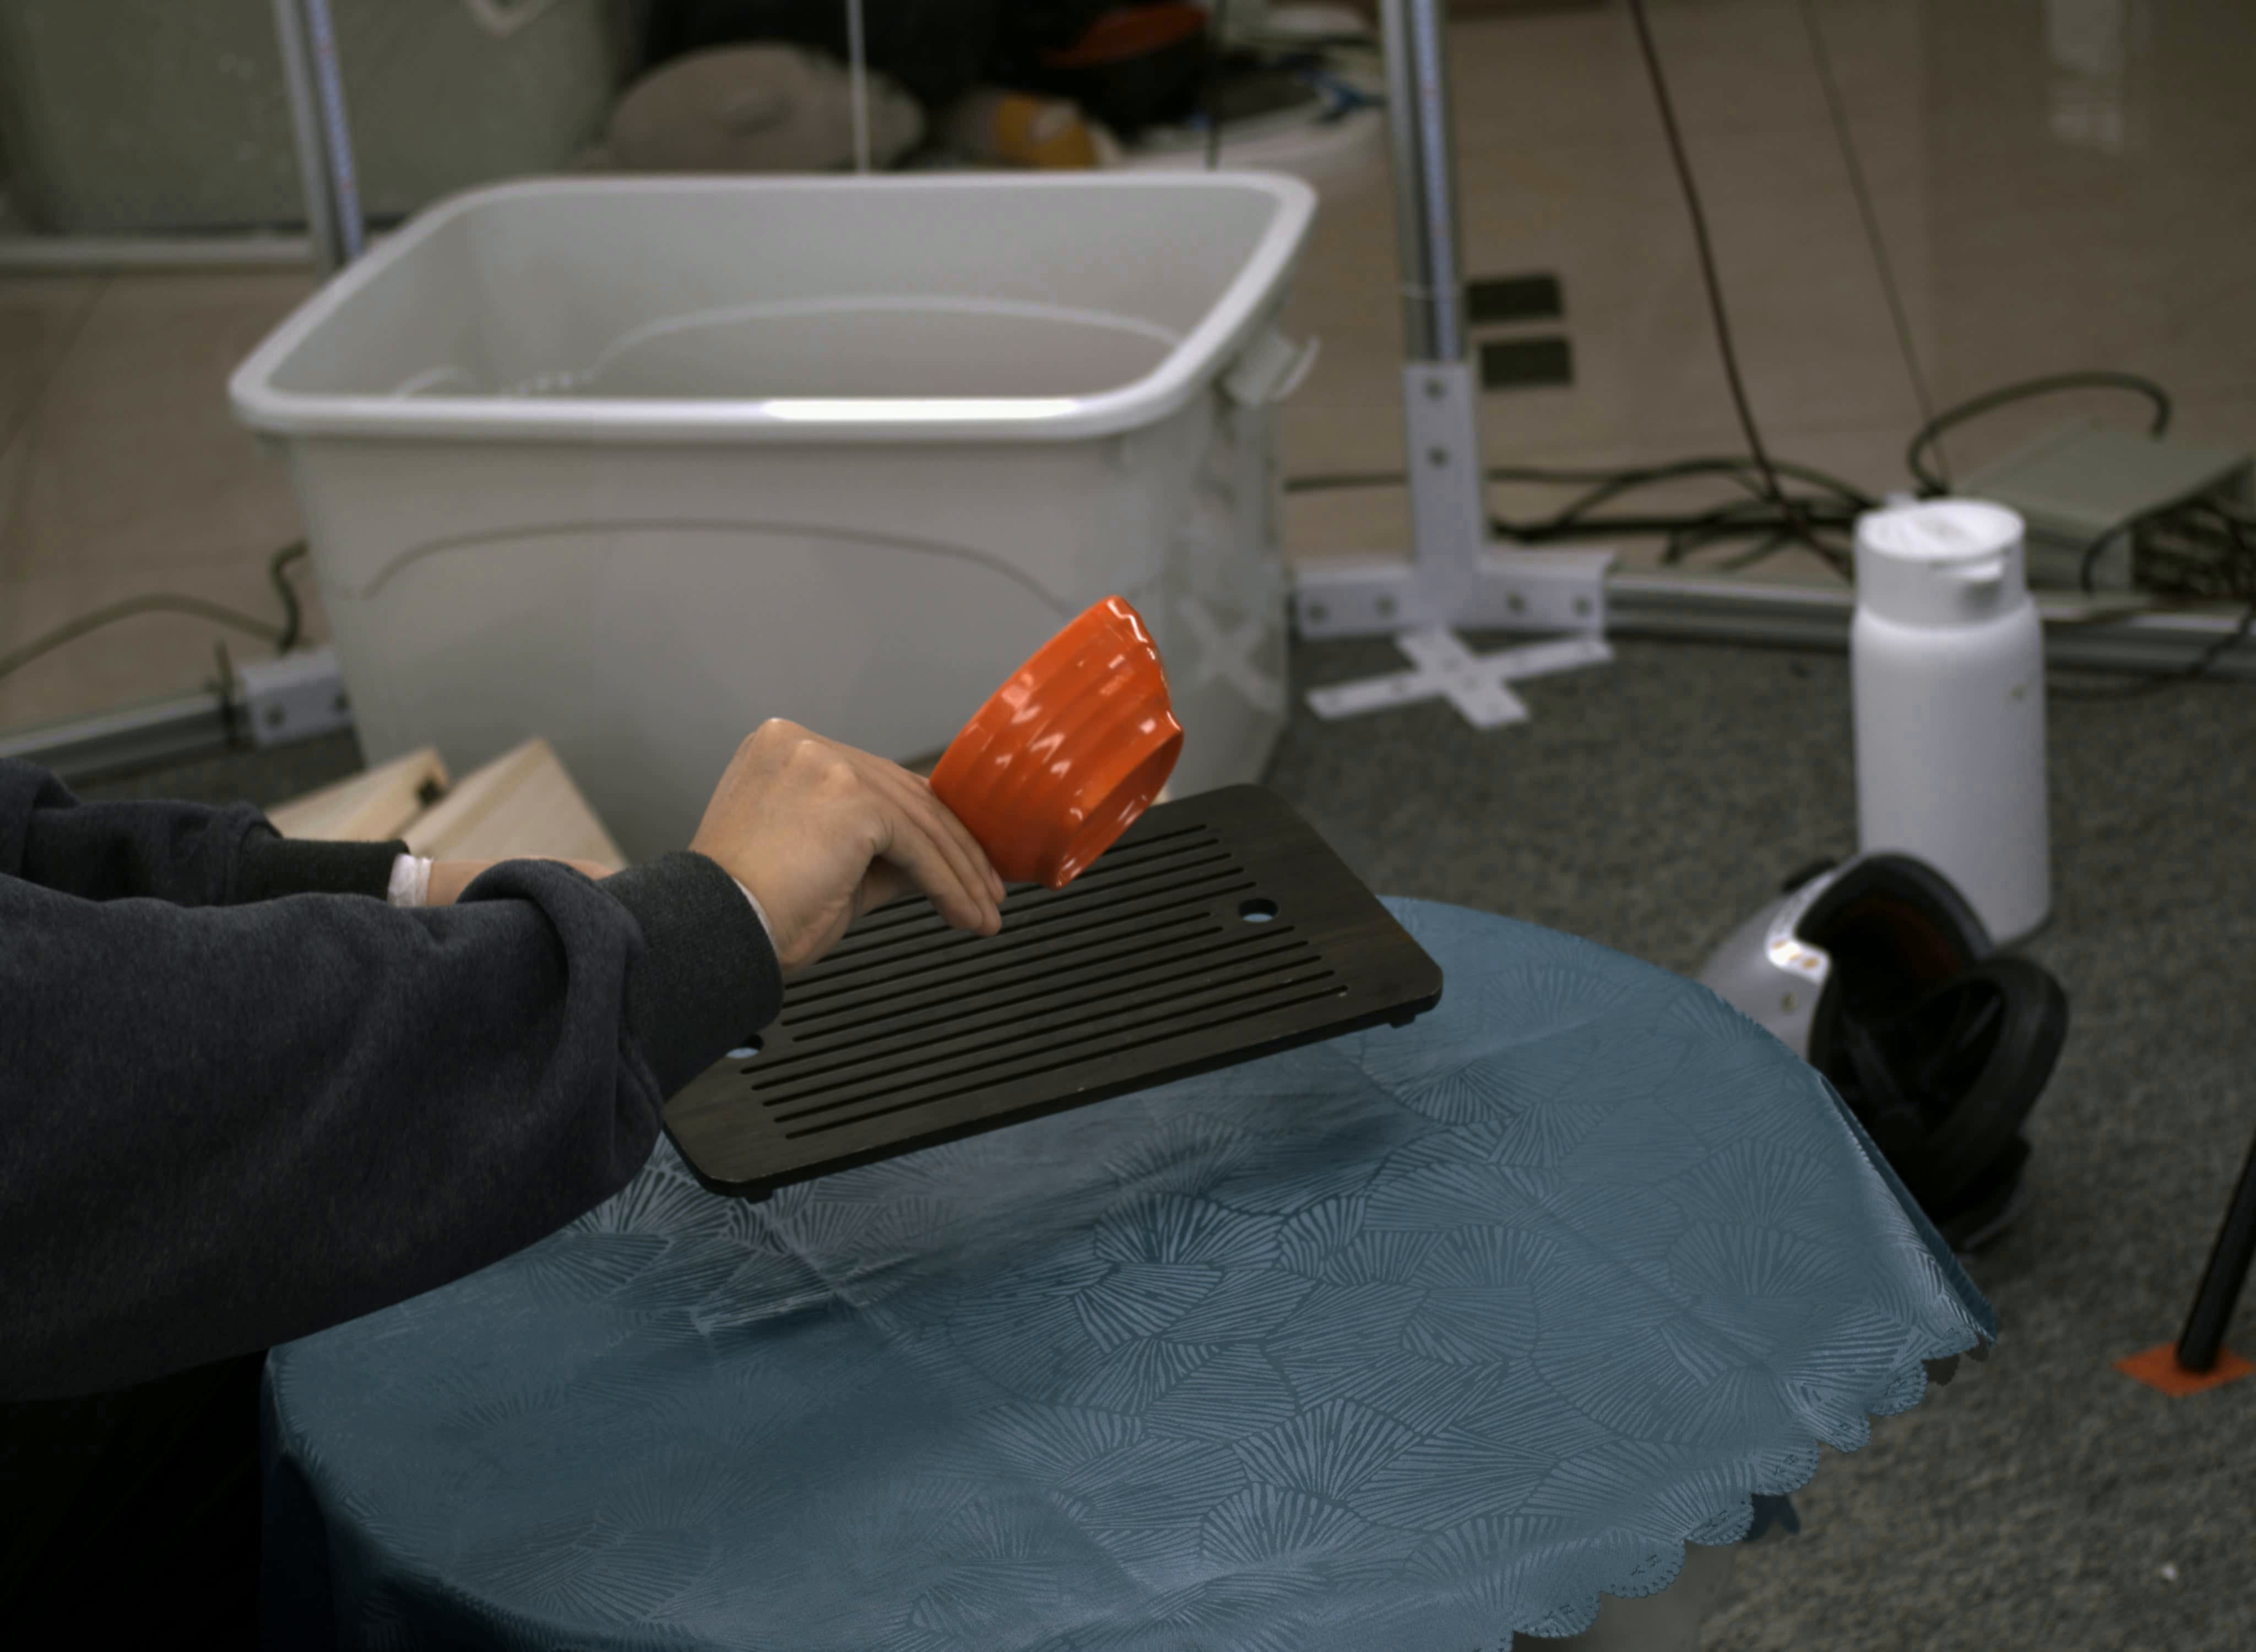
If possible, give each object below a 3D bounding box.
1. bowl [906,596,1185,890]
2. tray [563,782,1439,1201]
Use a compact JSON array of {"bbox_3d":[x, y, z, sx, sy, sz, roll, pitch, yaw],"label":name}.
[{"bbox_3d":[-0.022,-0.021,2.001,0.051,0.121,0.117,44,42,10],"label":"bowl"},{"bbox_3d":[-0.049,0.062,2.169,0.305,0.019,0.167,-15,35,-20],"label":"tray"}]
